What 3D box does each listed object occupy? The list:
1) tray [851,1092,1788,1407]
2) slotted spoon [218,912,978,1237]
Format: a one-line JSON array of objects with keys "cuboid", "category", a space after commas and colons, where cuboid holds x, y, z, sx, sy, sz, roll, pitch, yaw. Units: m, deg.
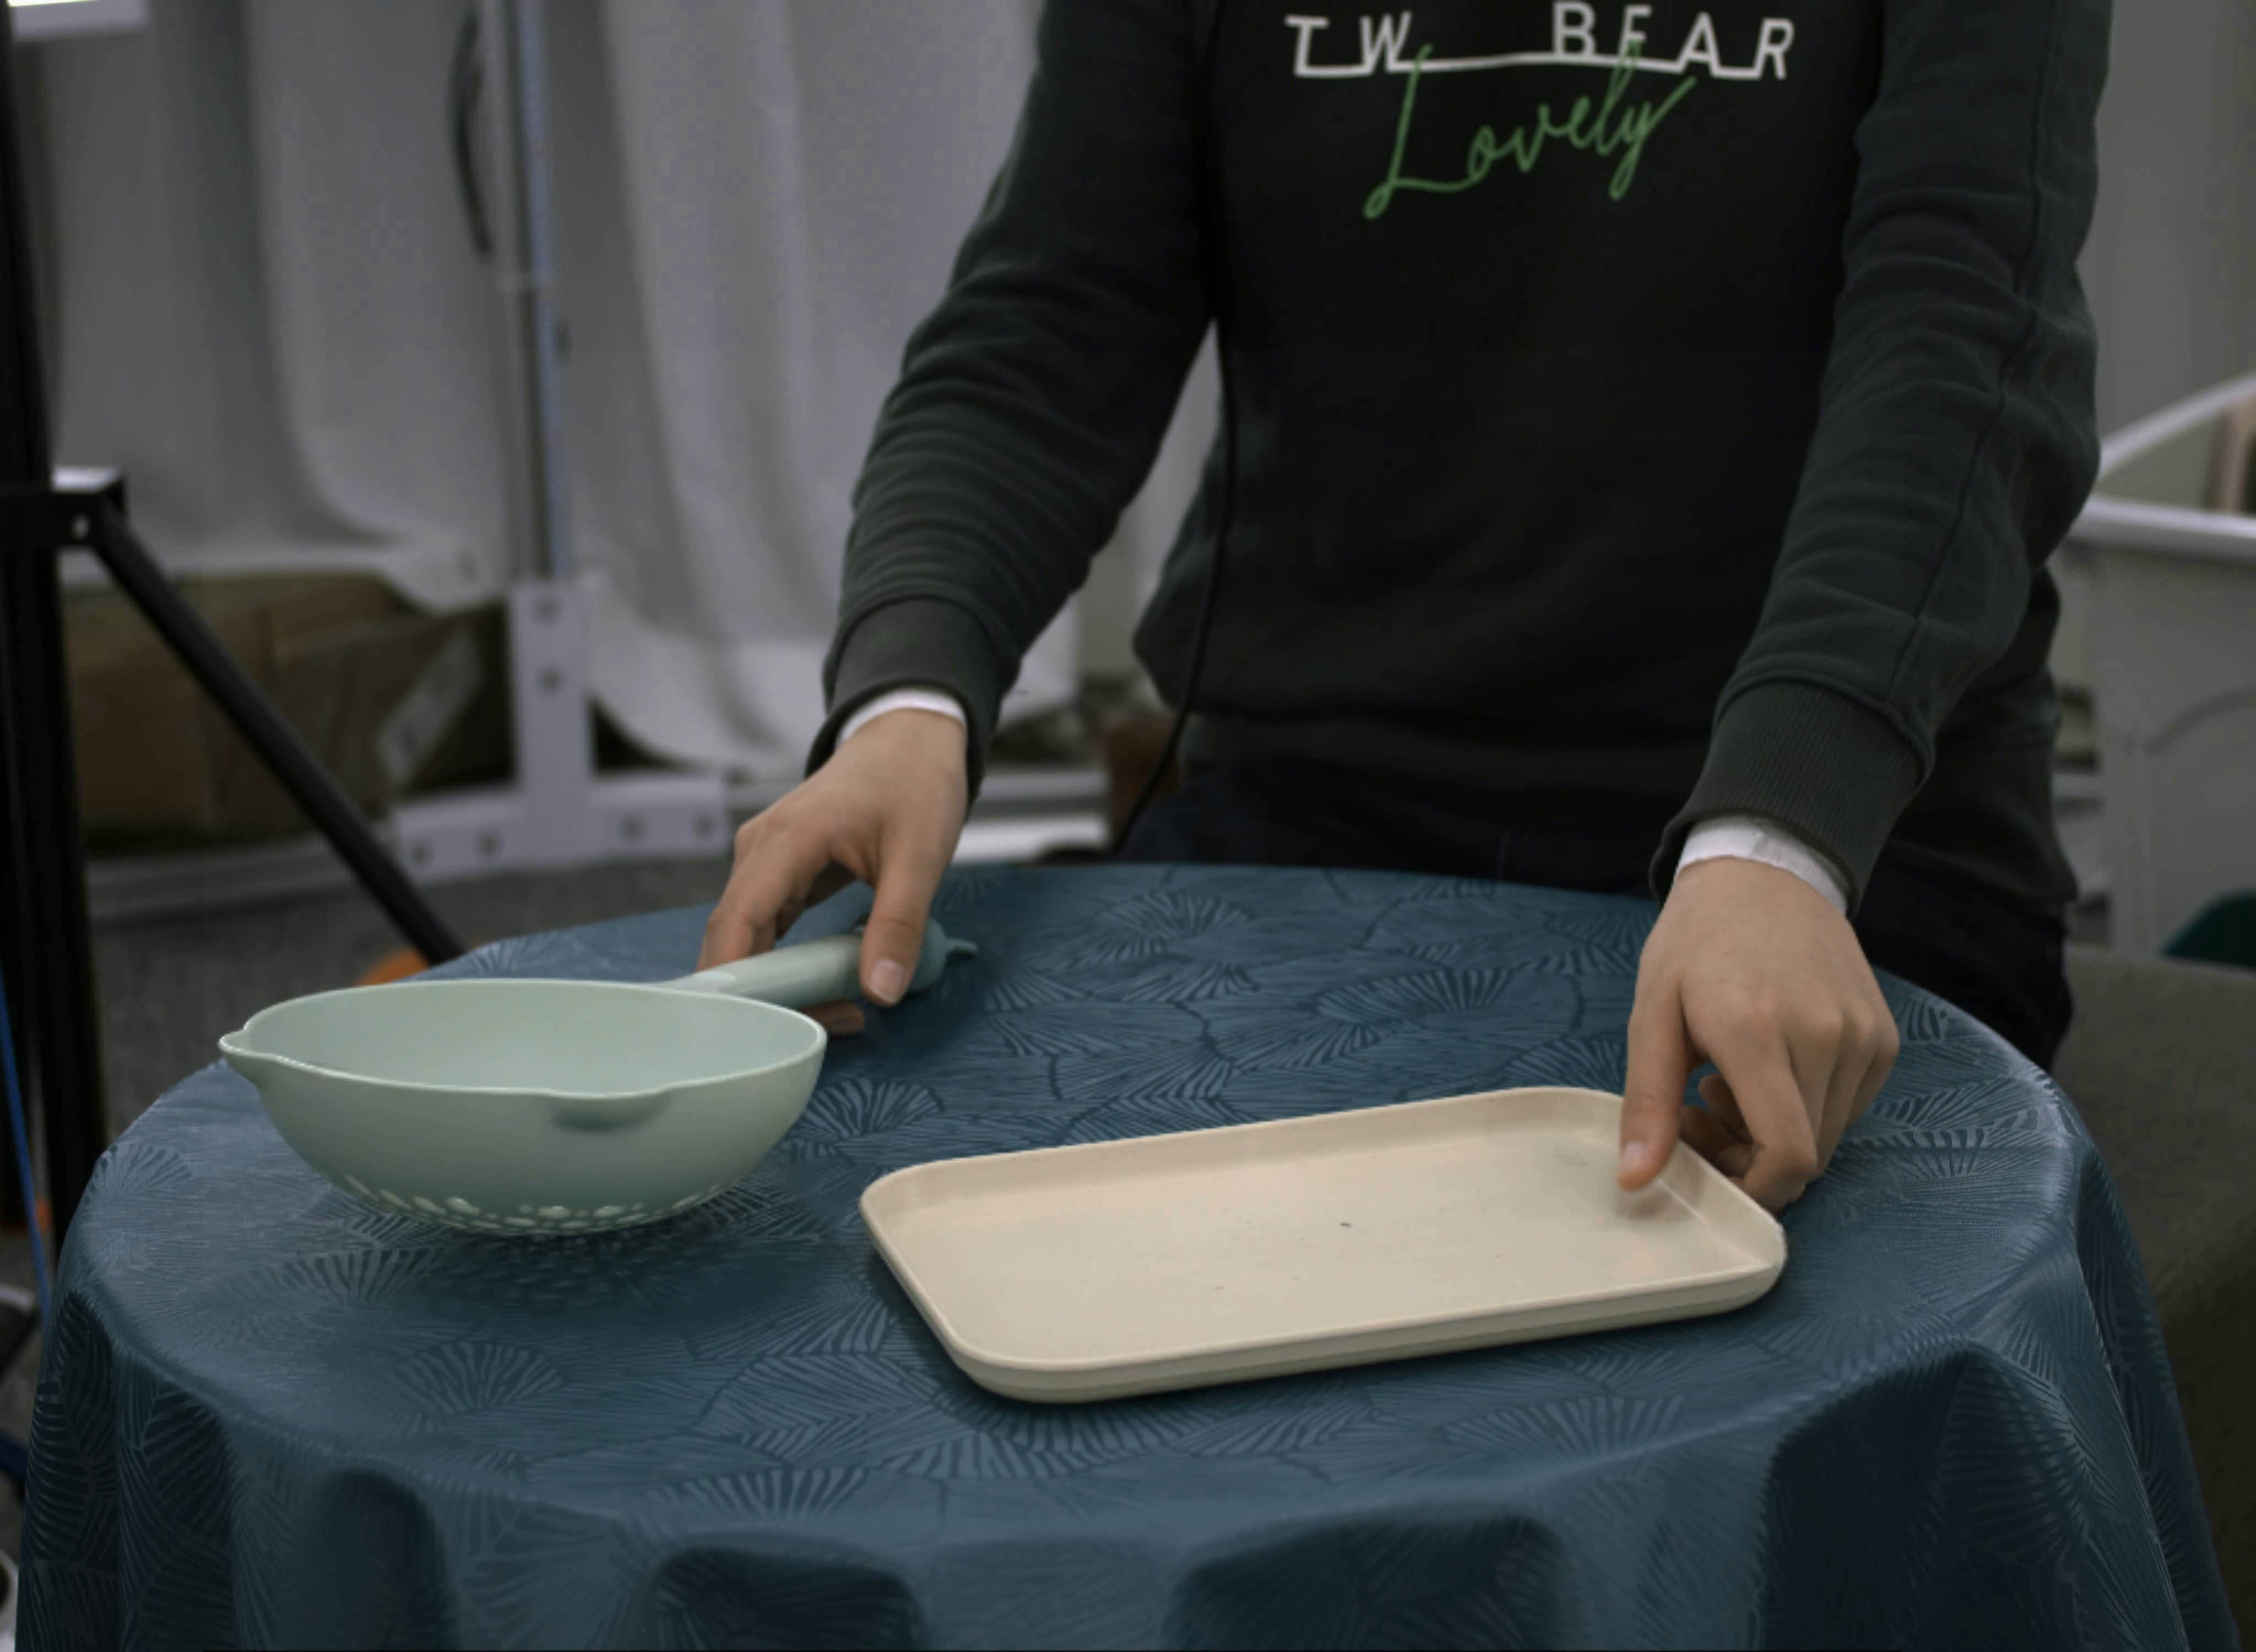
[{"cuboid": [0.052, 0.118, 1.485, 0.236, 0.017, 0.174, -6, 16, -13], "category": "tray"}, {"cuboid": [-0.131, 0.060, 1.633, 0.172, 0.075, 0.353, 6, 17, 25], "category": "slotted spoon"}]
